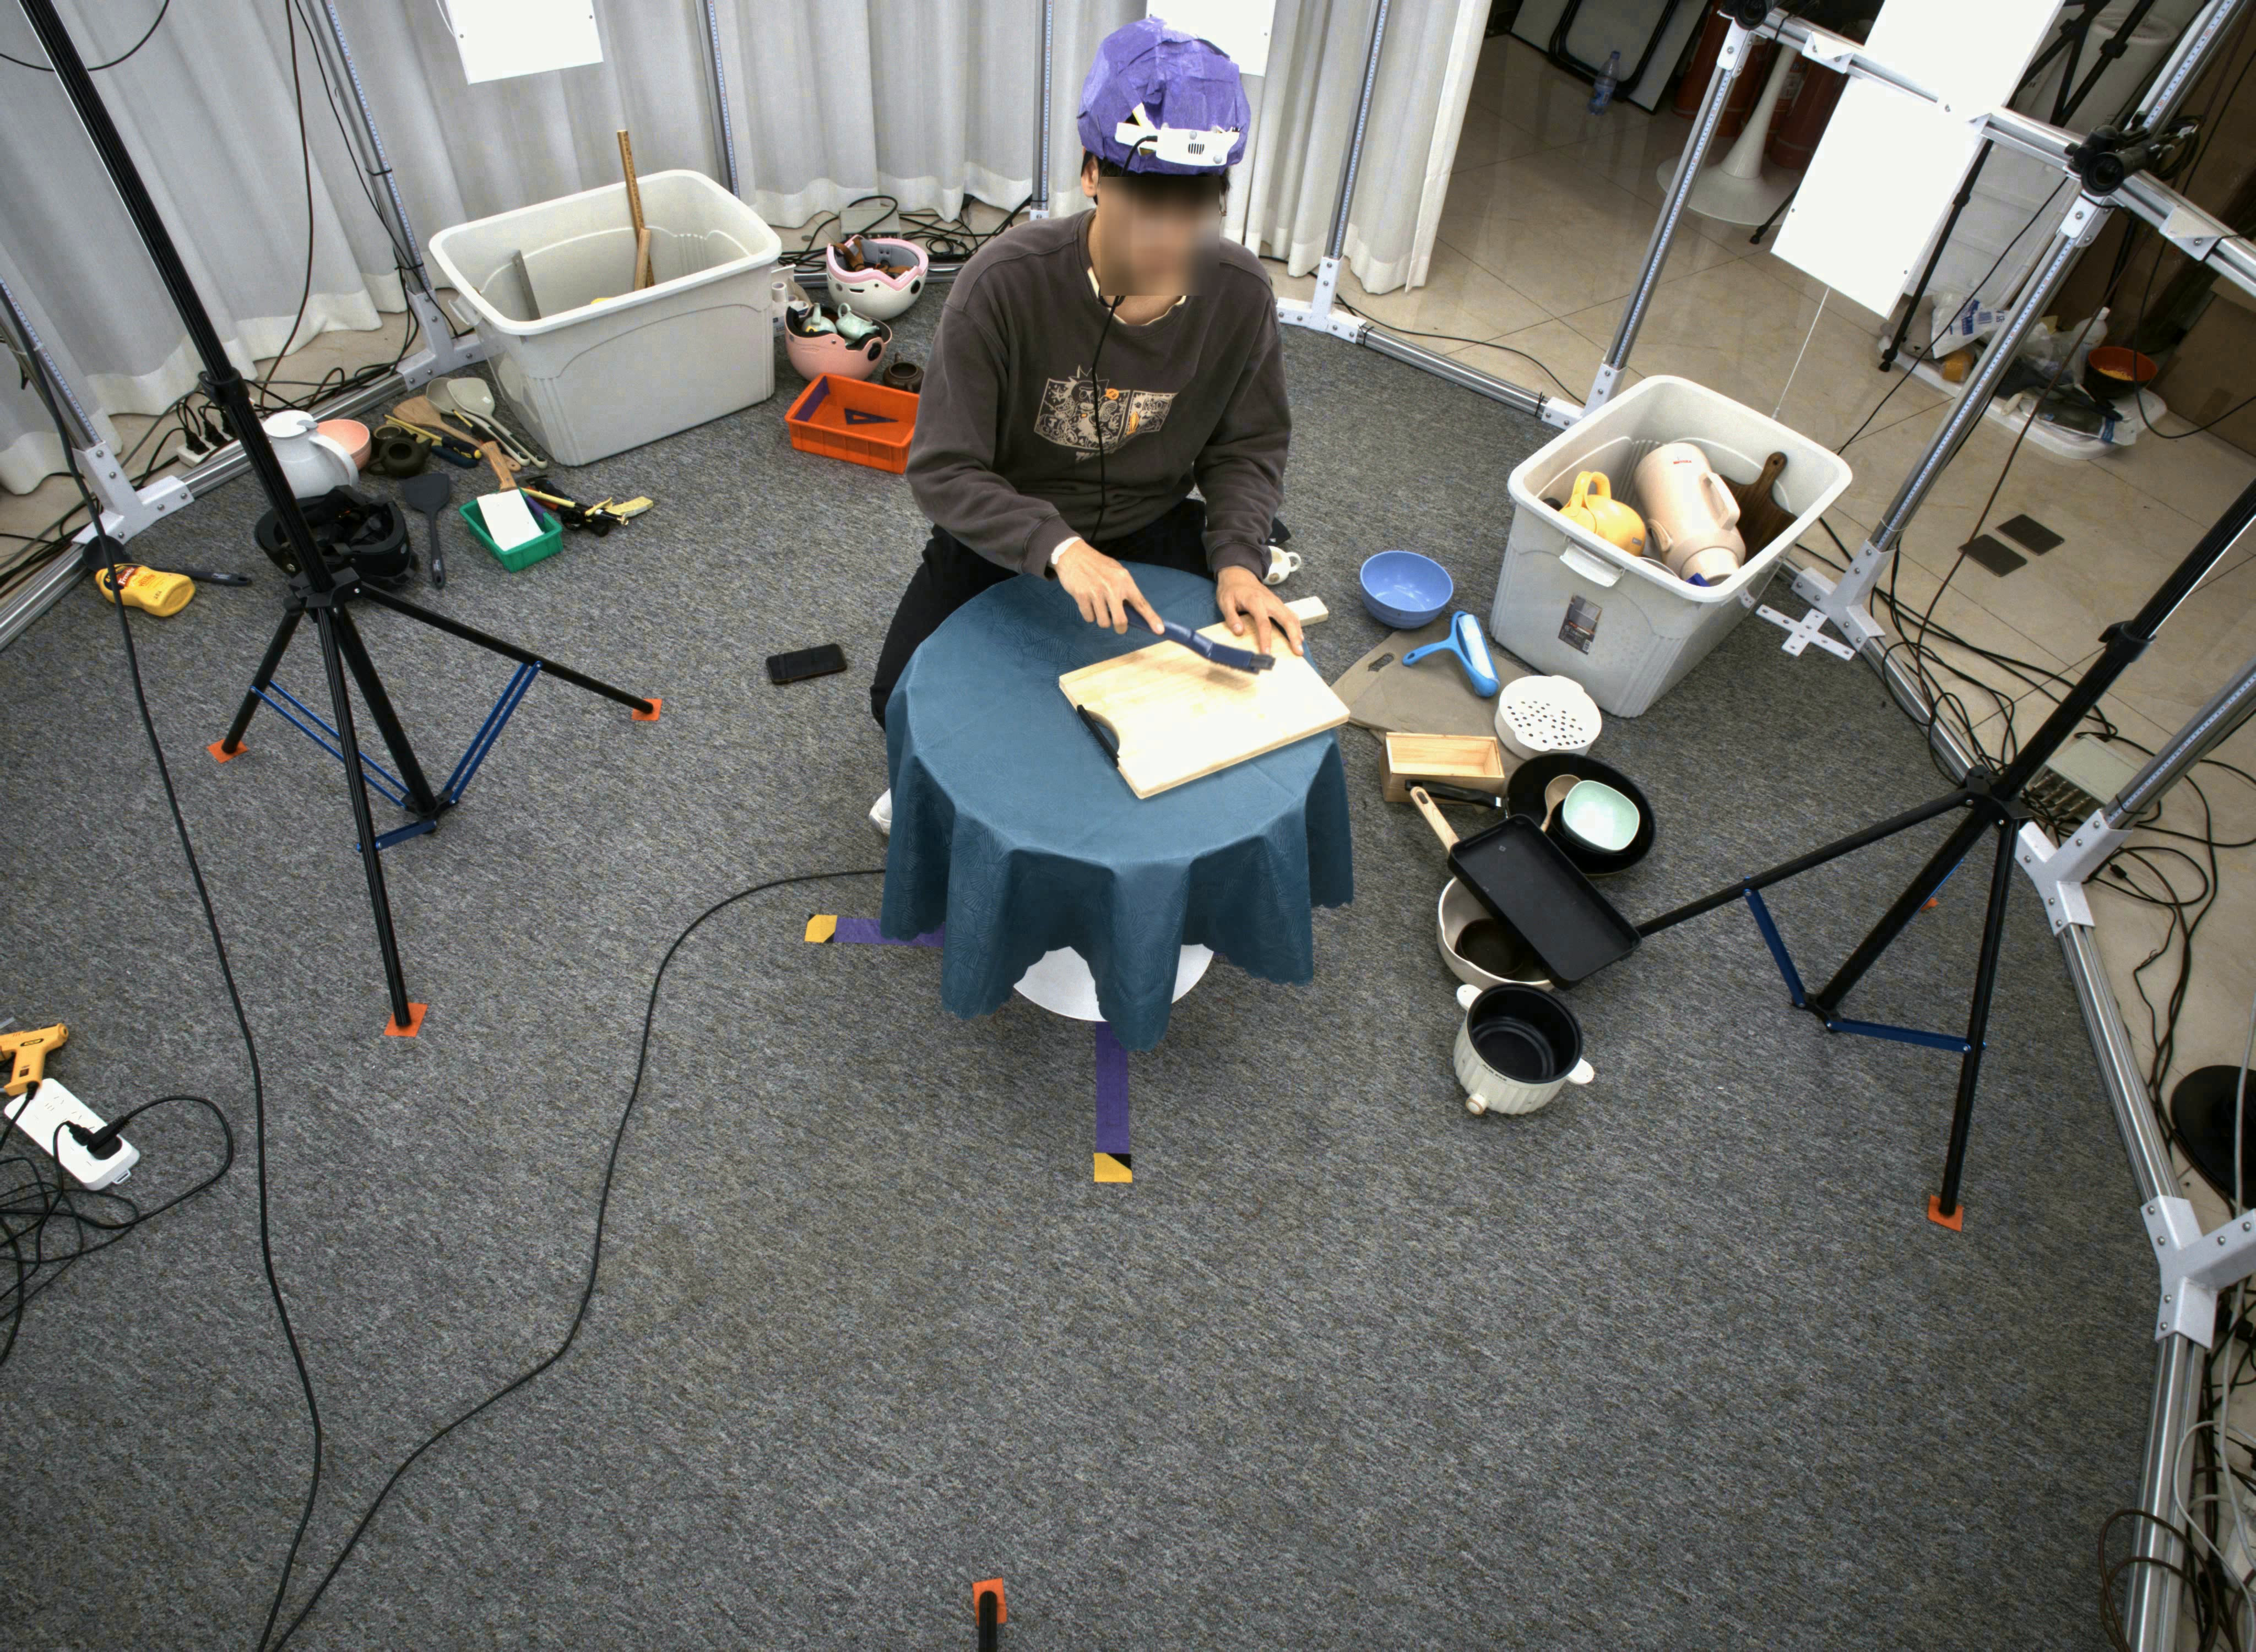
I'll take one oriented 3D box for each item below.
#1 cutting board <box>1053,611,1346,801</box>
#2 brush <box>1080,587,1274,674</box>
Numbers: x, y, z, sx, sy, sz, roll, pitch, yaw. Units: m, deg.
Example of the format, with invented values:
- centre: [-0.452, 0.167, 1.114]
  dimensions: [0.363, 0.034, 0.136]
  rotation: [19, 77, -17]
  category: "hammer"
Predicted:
- centre: [0.102, -0.178, 1.816]
  dimensions: [0.349, 0.023, 0.256]
  rotation: [-21, 53, -21]
  category: "cutting board"
- centre: [0.066, -0.273, 1.785]
  dimensions: [0.272, 0.095, 0.034]
  rotation: [22, 84, -5]
  category: "brush"
